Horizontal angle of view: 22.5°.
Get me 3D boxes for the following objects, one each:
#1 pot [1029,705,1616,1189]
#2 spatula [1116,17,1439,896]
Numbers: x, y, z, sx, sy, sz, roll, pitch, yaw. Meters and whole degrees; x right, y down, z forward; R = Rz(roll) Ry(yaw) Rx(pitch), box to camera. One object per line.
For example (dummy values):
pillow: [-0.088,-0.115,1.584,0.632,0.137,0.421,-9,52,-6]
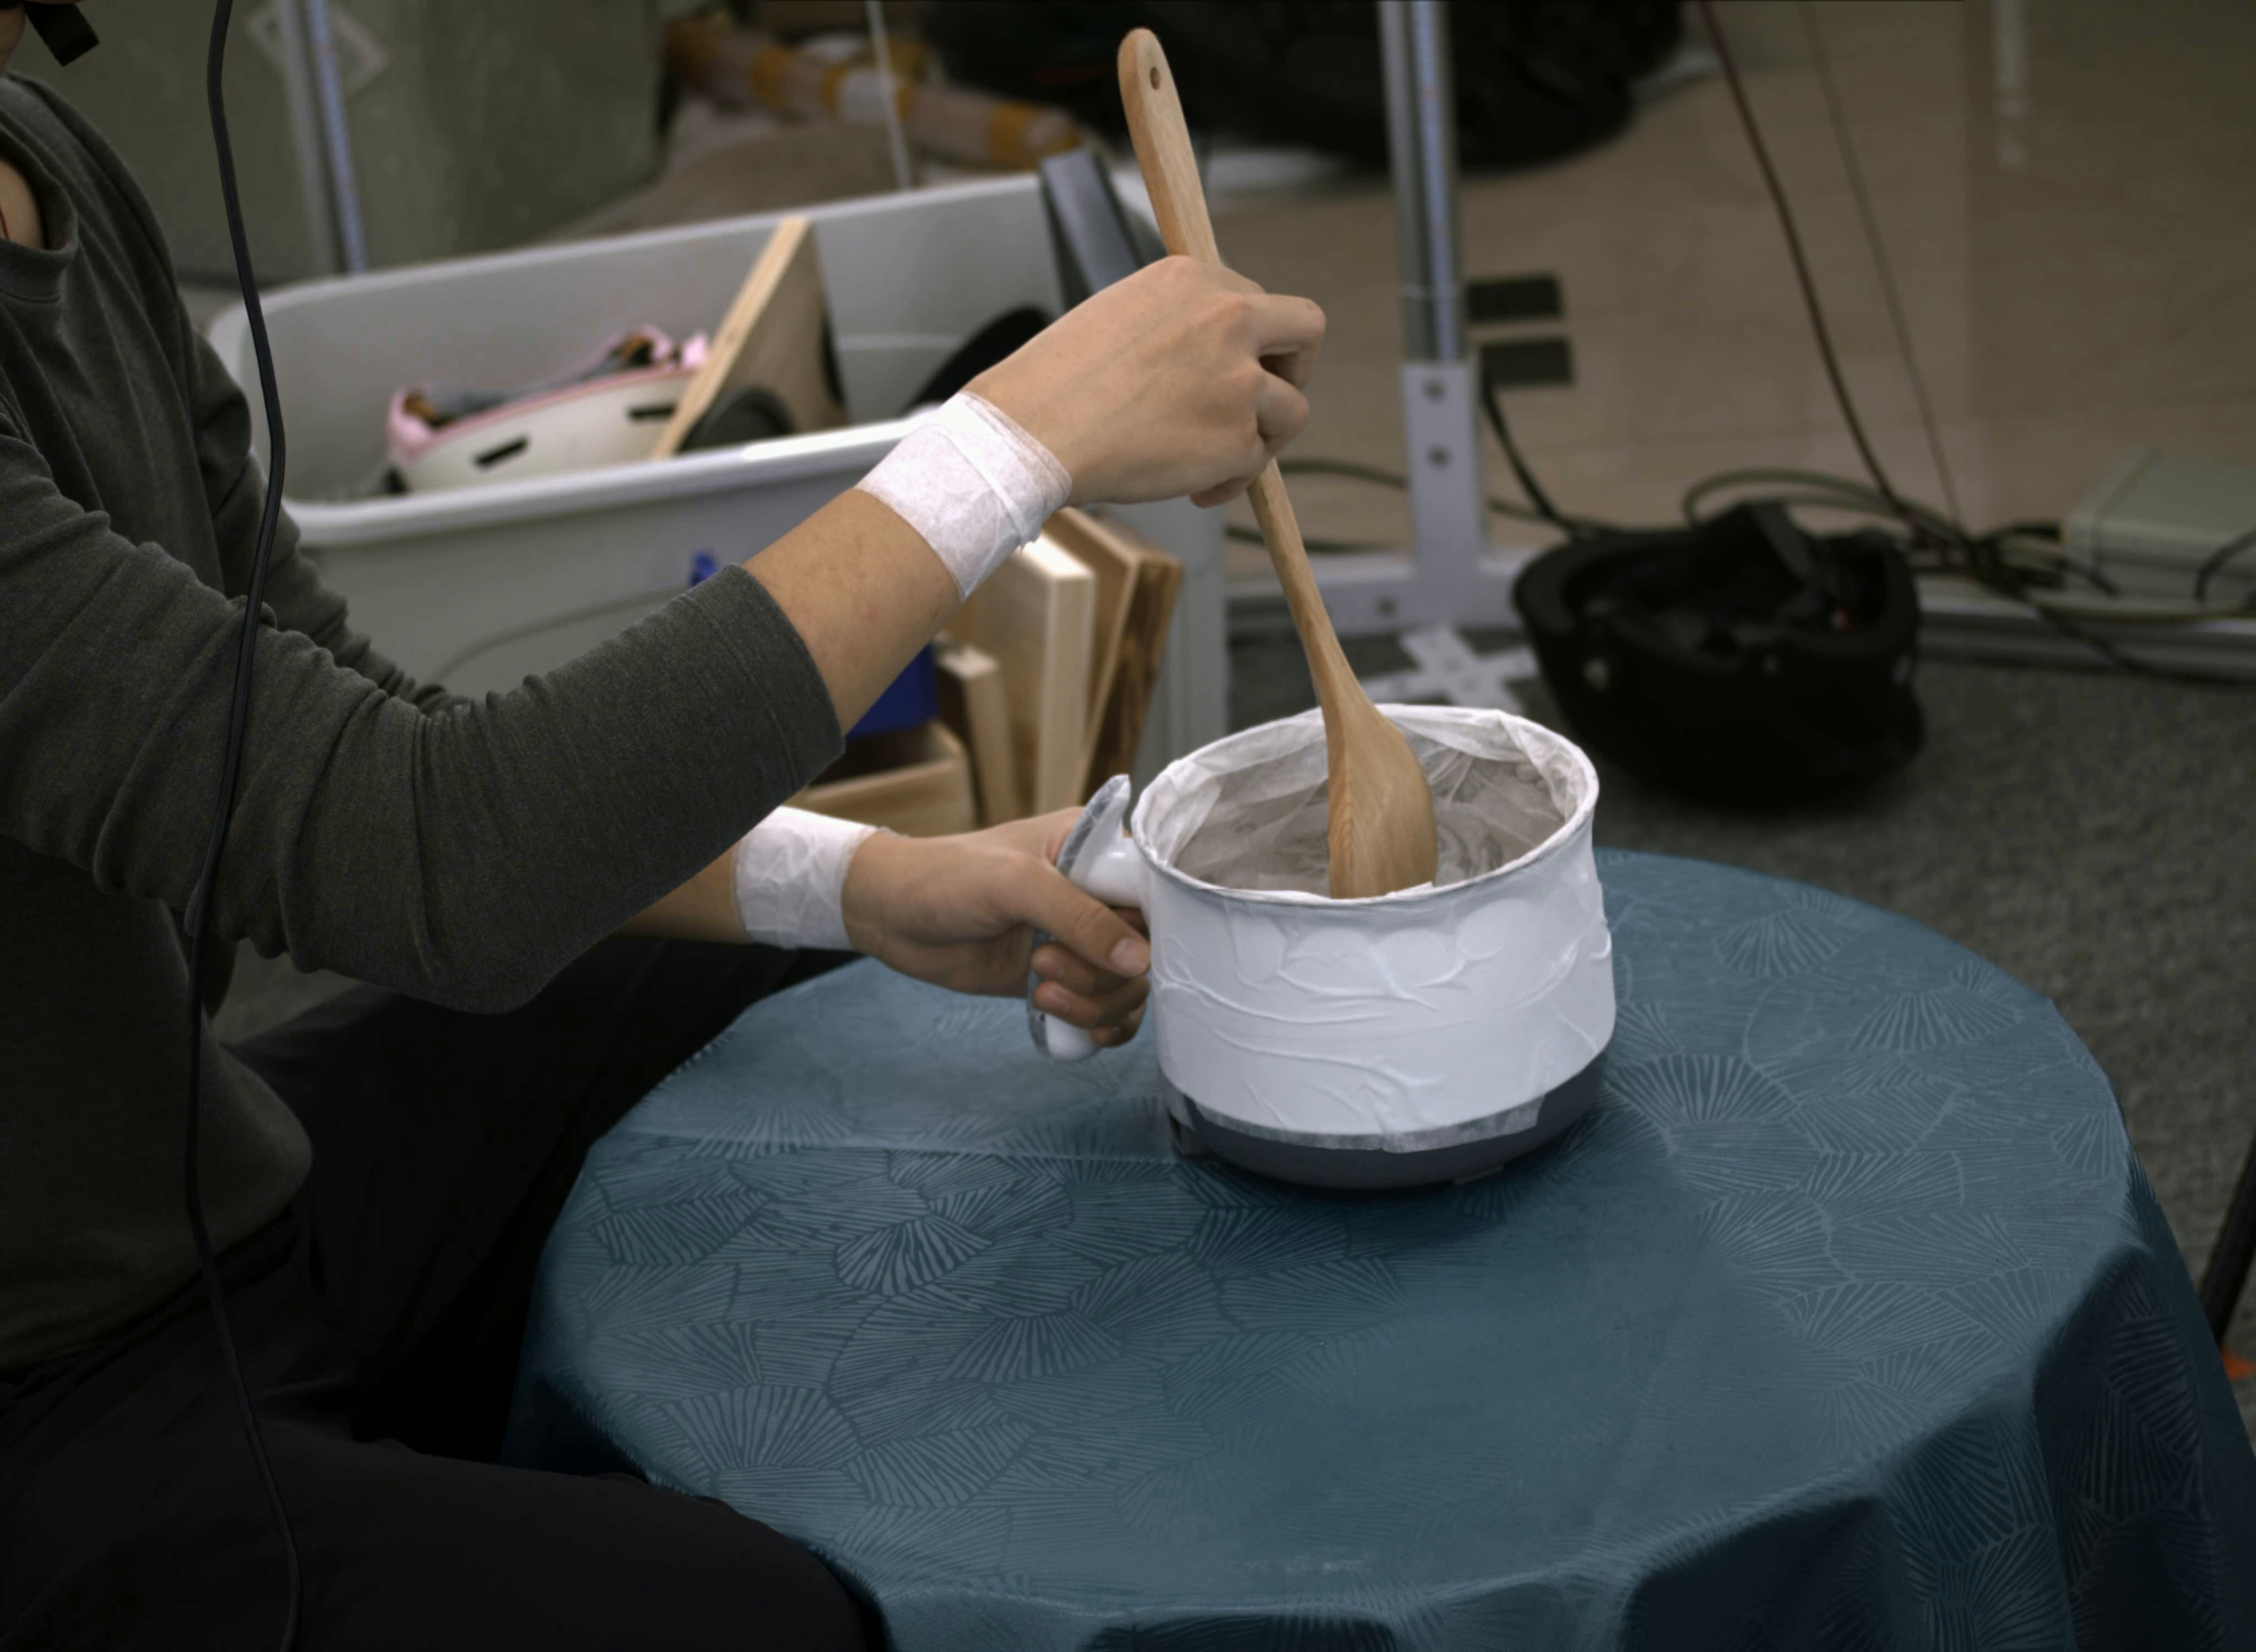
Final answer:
pot: [0.070,0.047,2.169,0.233,0.139,0.176,3,26,19]
spatula: [0.056,-0.119,2.078,0.018,0.397,0.094,-4,31,27]
